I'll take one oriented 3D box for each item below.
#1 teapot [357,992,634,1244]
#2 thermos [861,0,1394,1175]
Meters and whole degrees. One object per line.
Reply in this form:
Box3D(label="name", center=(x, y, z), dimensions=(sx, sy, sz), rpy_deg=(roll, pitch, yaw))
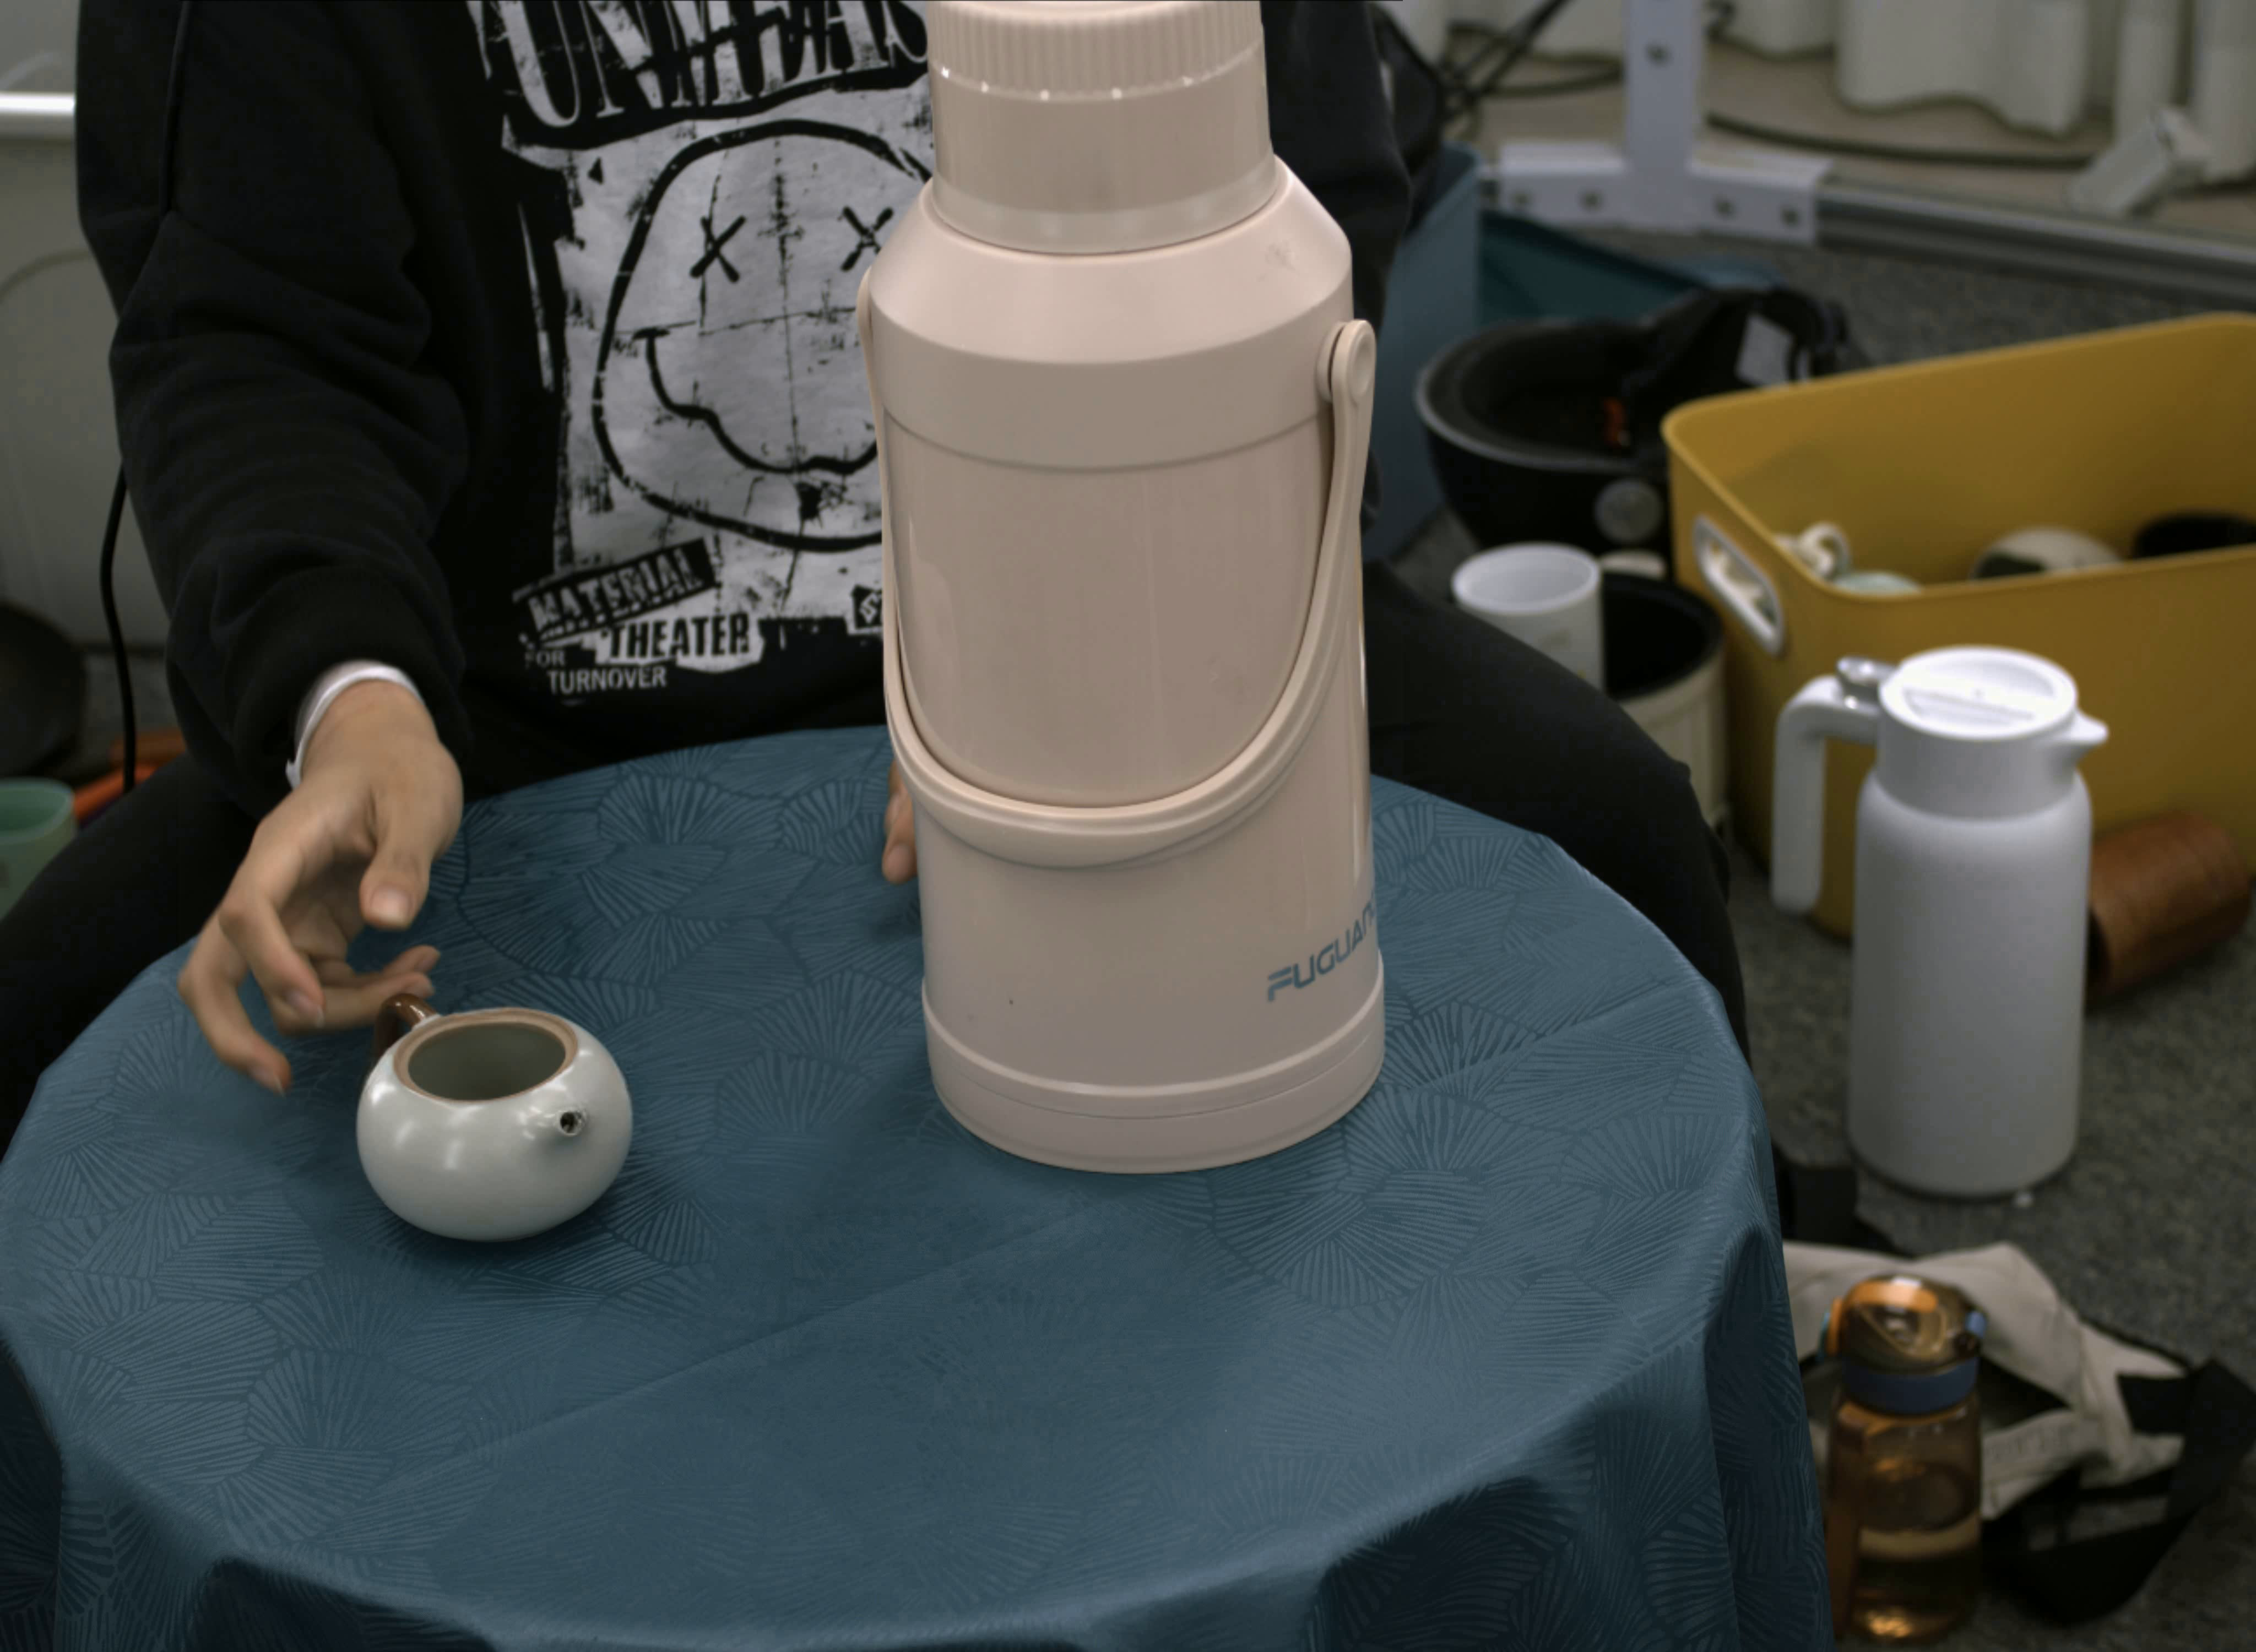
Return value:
Box3D(label="teapot", center=(-0.215, 0.096, 1.866), dimensions=(0.093, 0.059, 0.128), rpy_deg=(-26, 36, -32))
Box3D(label="thermos", center=(0.008, -0.101, 1.864), dimensions=(0.174, 0.402, 0.210), rpy_deg=(7, 28, 23))
